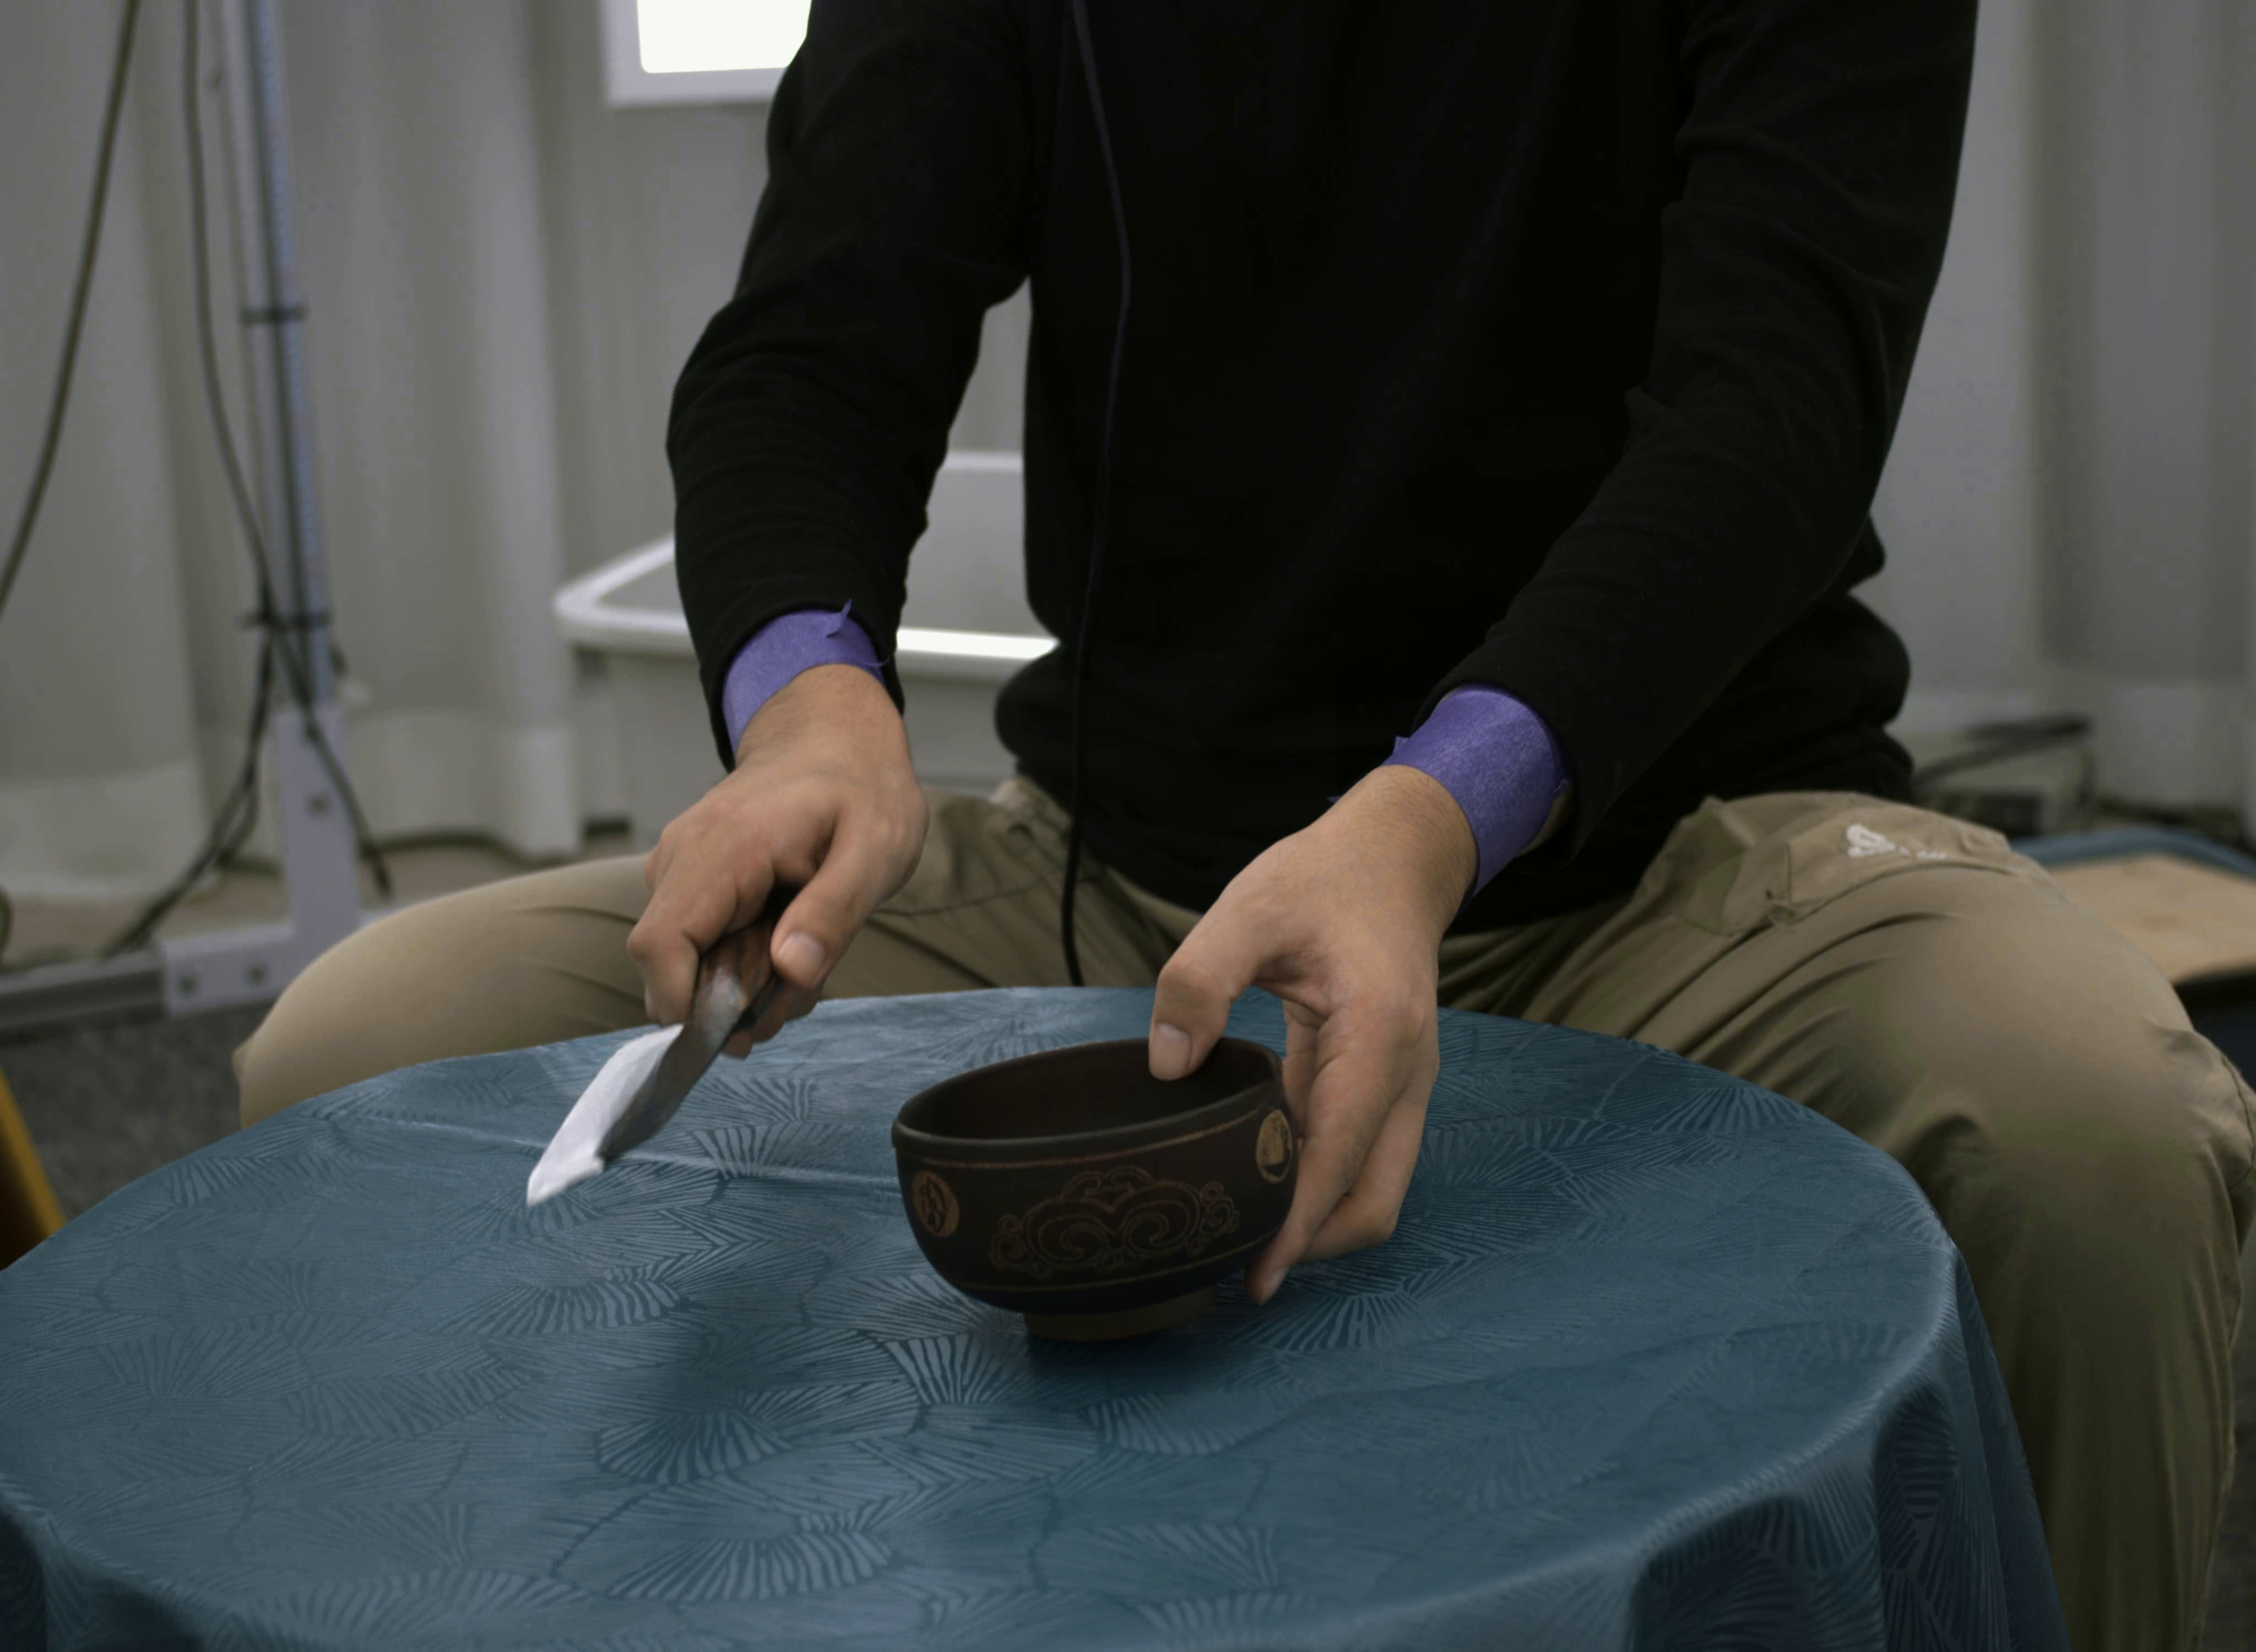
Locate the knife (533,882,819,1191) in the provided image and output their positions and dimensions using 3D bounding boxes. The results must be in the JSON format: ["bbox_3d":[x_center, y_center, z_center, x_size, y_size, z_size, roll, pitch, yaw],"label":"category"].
[{"bbox_3d":[-0.135,0.064,1.654,0.050,0.020,0.290,-20,10,15],"label":"knife"}]

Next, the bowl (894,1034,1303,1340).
[{"bbox_3d":[-0.006,0.108,1.591,0.117,0.070,0.118,-9,9,1],"label":"bowl"}]
